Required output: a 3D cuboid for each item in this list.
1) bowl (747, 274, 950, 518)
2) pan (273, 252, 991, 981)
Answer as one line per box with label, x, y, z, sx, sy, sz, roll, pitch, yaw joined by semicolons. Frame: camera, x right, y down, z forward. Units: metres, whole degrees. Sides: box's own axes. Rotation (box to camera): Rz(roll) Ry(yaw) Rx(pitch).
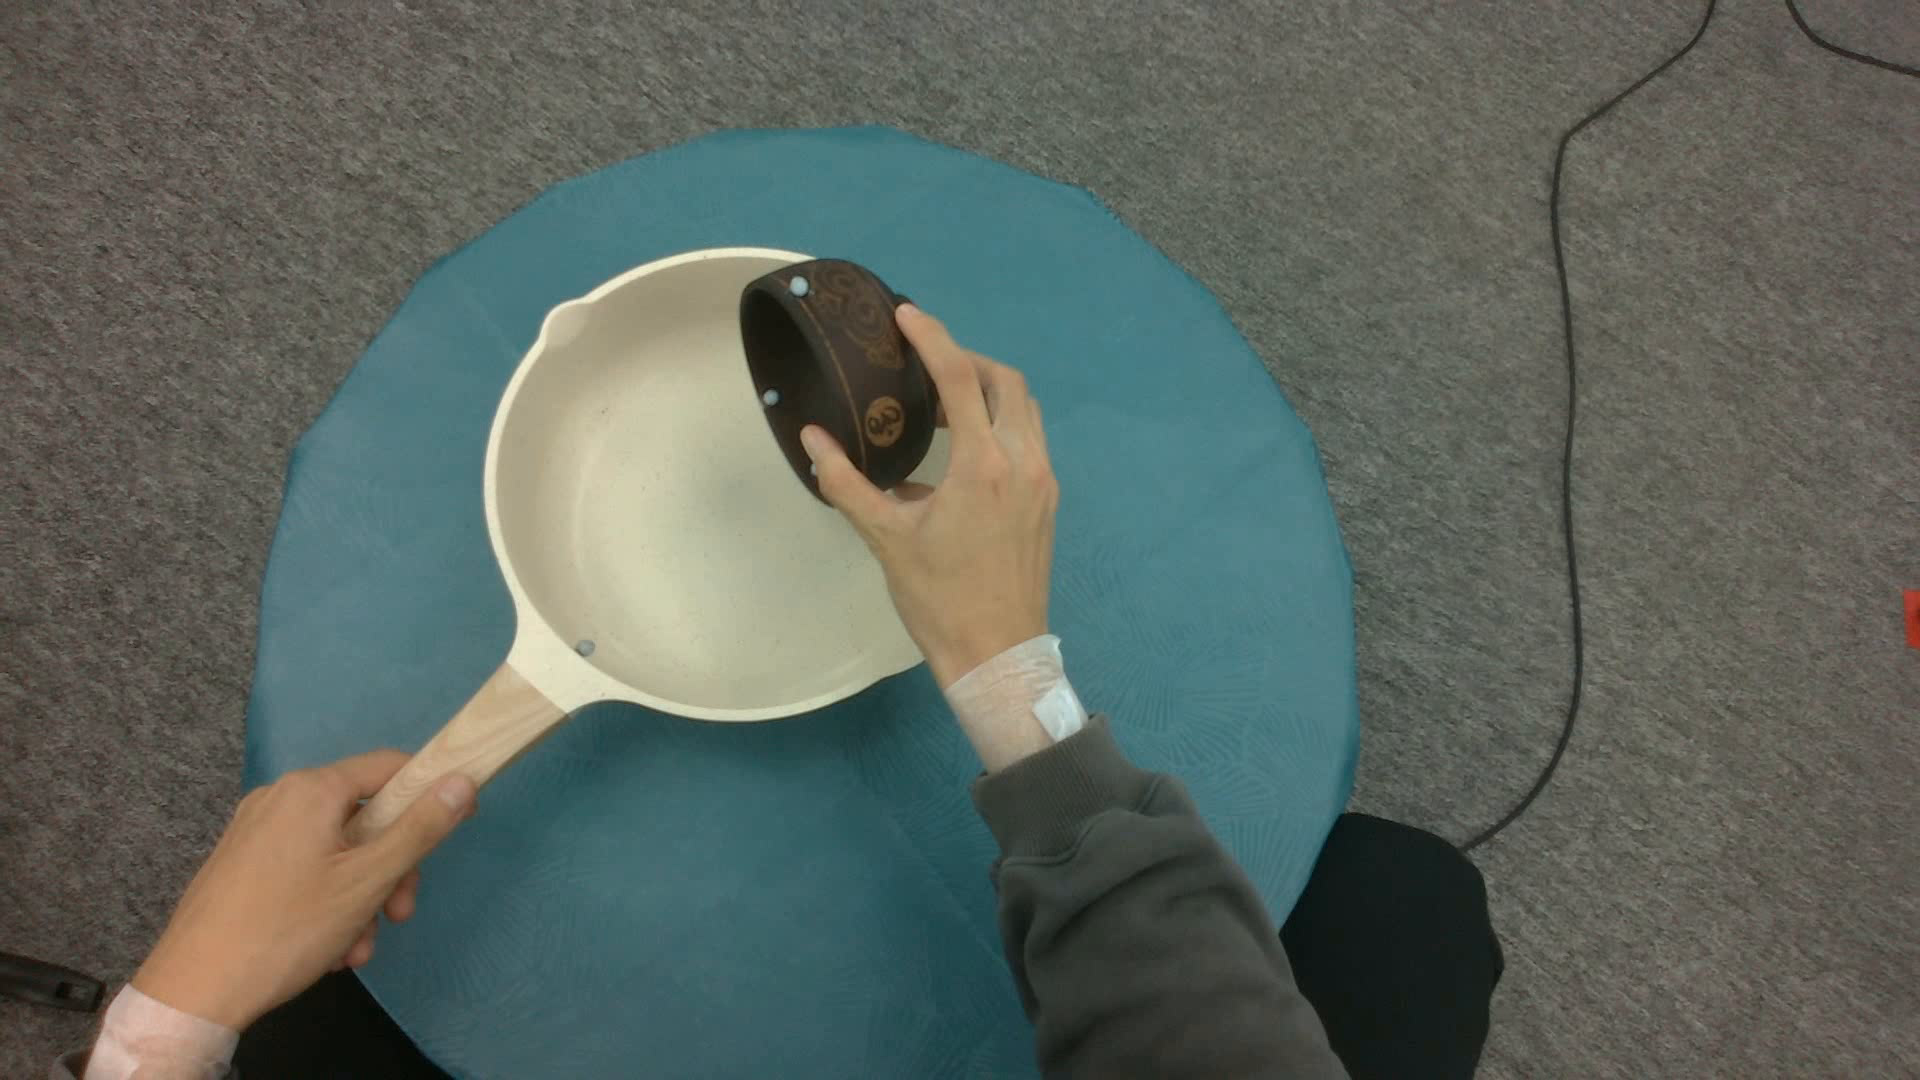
bowl;-0.049;-0.077;0.685;0.070;0.117;0.118;-27;77;-22
pan;-0.169;0.042;0.712;0.263;0.101;0.436;39;74;5
